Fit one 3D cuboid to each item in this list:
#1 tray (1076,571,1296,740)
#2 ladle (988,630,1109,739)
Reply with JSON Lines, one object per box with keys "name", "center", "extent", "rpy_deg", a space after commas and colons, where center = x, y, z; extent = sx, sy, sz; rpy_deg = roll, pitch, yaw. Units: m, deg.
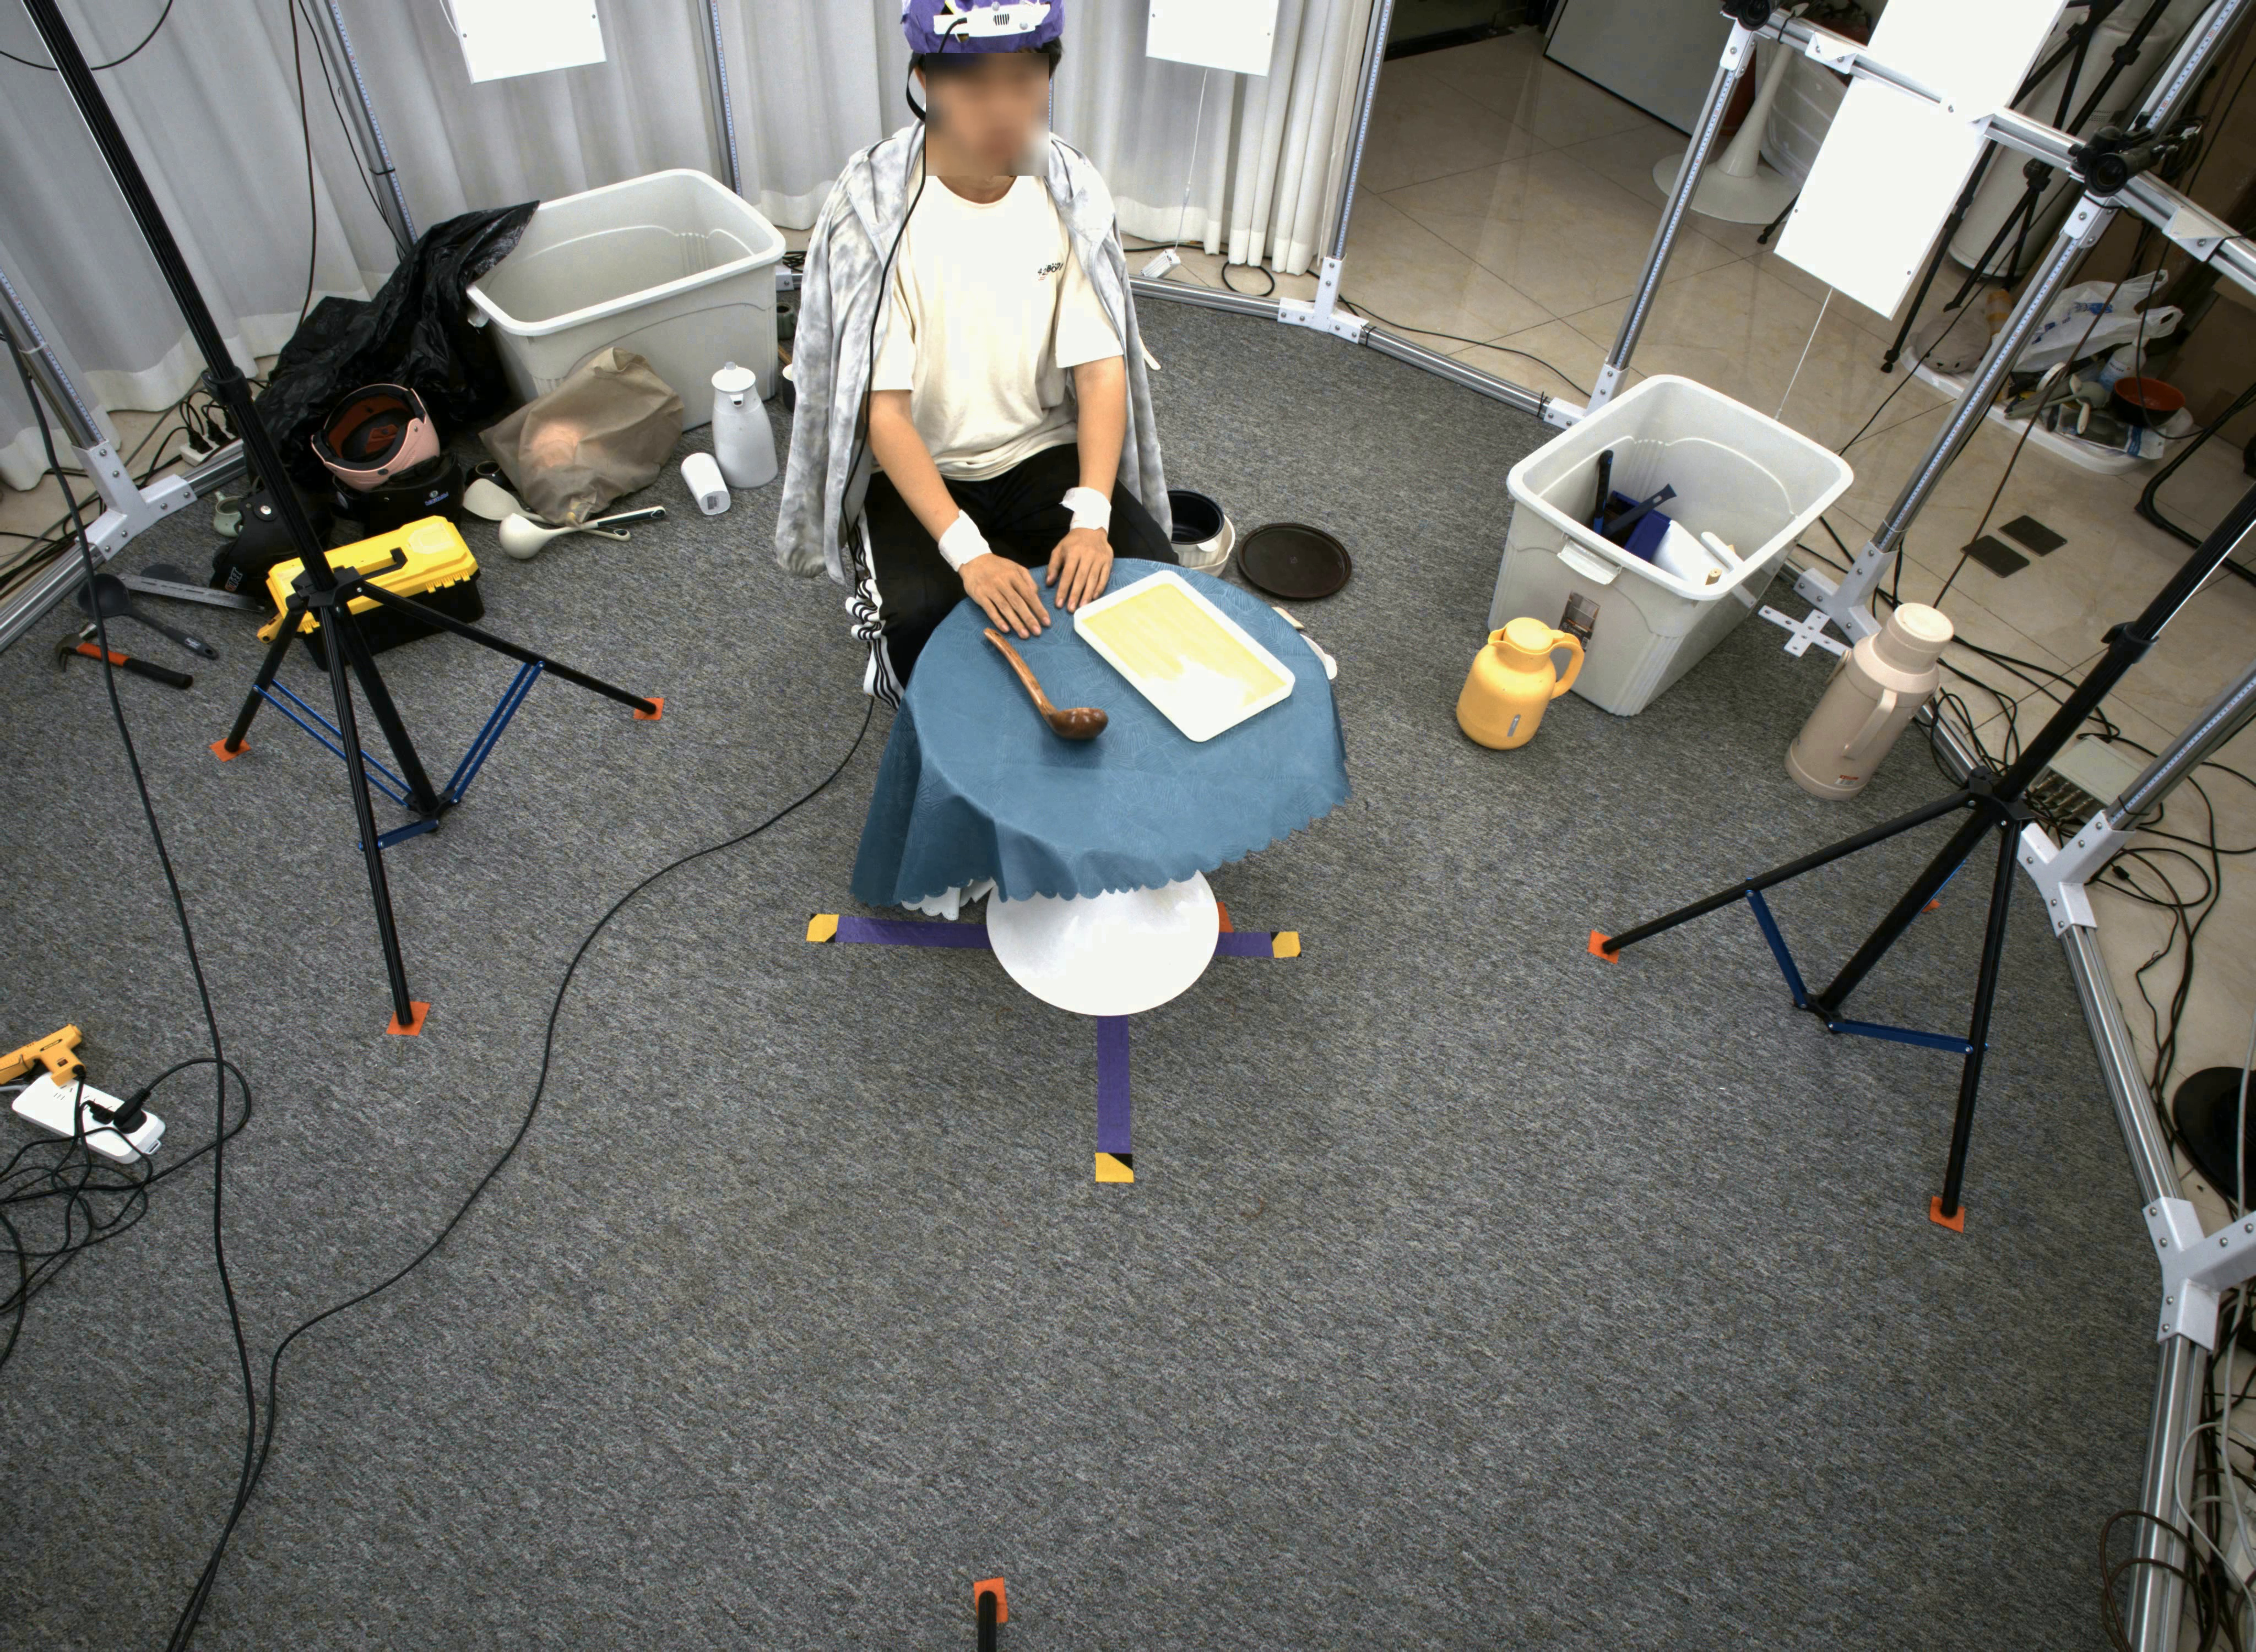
{"name": "tray", "center": [0.080, -0.254, 1.870], "extent": [0.192, 0.027, 0.306], "rpy_deg": [-28, 56, -25]}
{"name": "ladle", "center": [-0.117, -0.214, 1.794], "extent": [0.081, 0.076, 0.280], "rpy_deg": [18, 30, -47]}
